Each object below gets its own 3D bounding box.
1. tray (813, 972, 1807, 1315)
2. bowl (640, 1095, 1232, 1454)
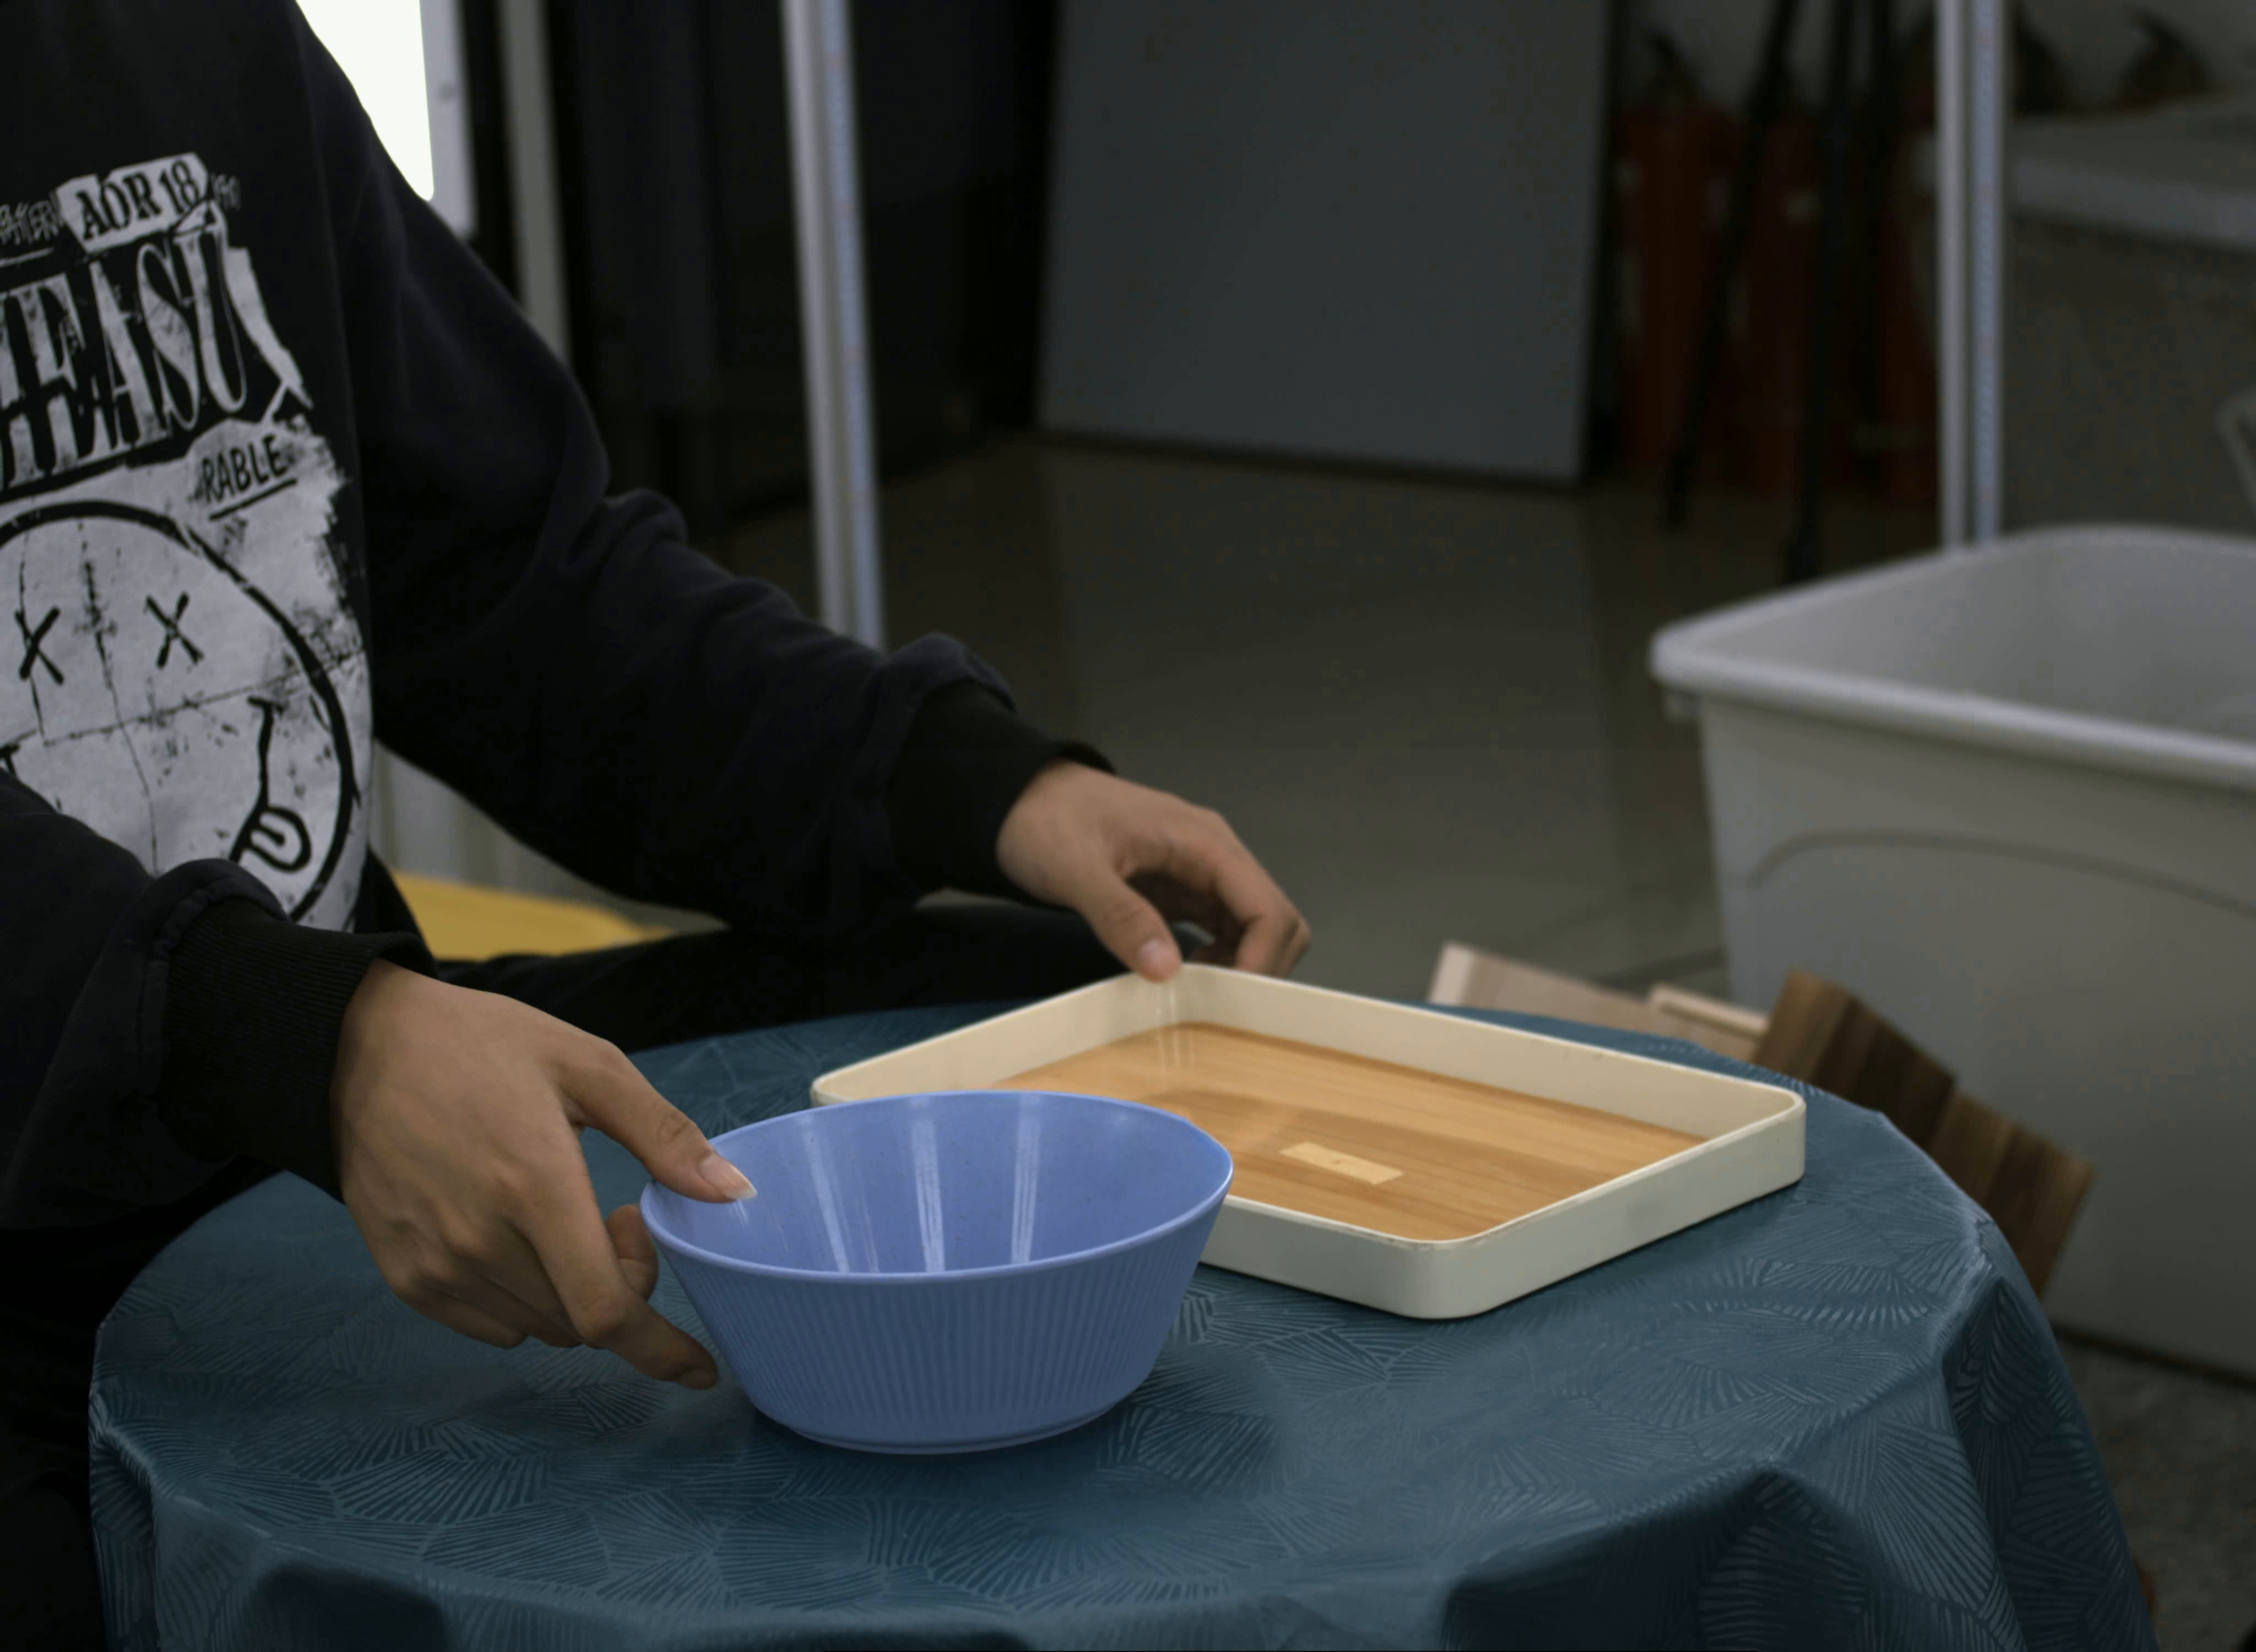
[{"bbox_3d":[0.057,0.101,1.781,0.187,0.028,0.303,-16,18,-42],"label":"tray"},{"bbox_3d":[-0.055,0.134,1.586,0.174,0.071,0.176,-3,14,0],"label":"bowl"}]
